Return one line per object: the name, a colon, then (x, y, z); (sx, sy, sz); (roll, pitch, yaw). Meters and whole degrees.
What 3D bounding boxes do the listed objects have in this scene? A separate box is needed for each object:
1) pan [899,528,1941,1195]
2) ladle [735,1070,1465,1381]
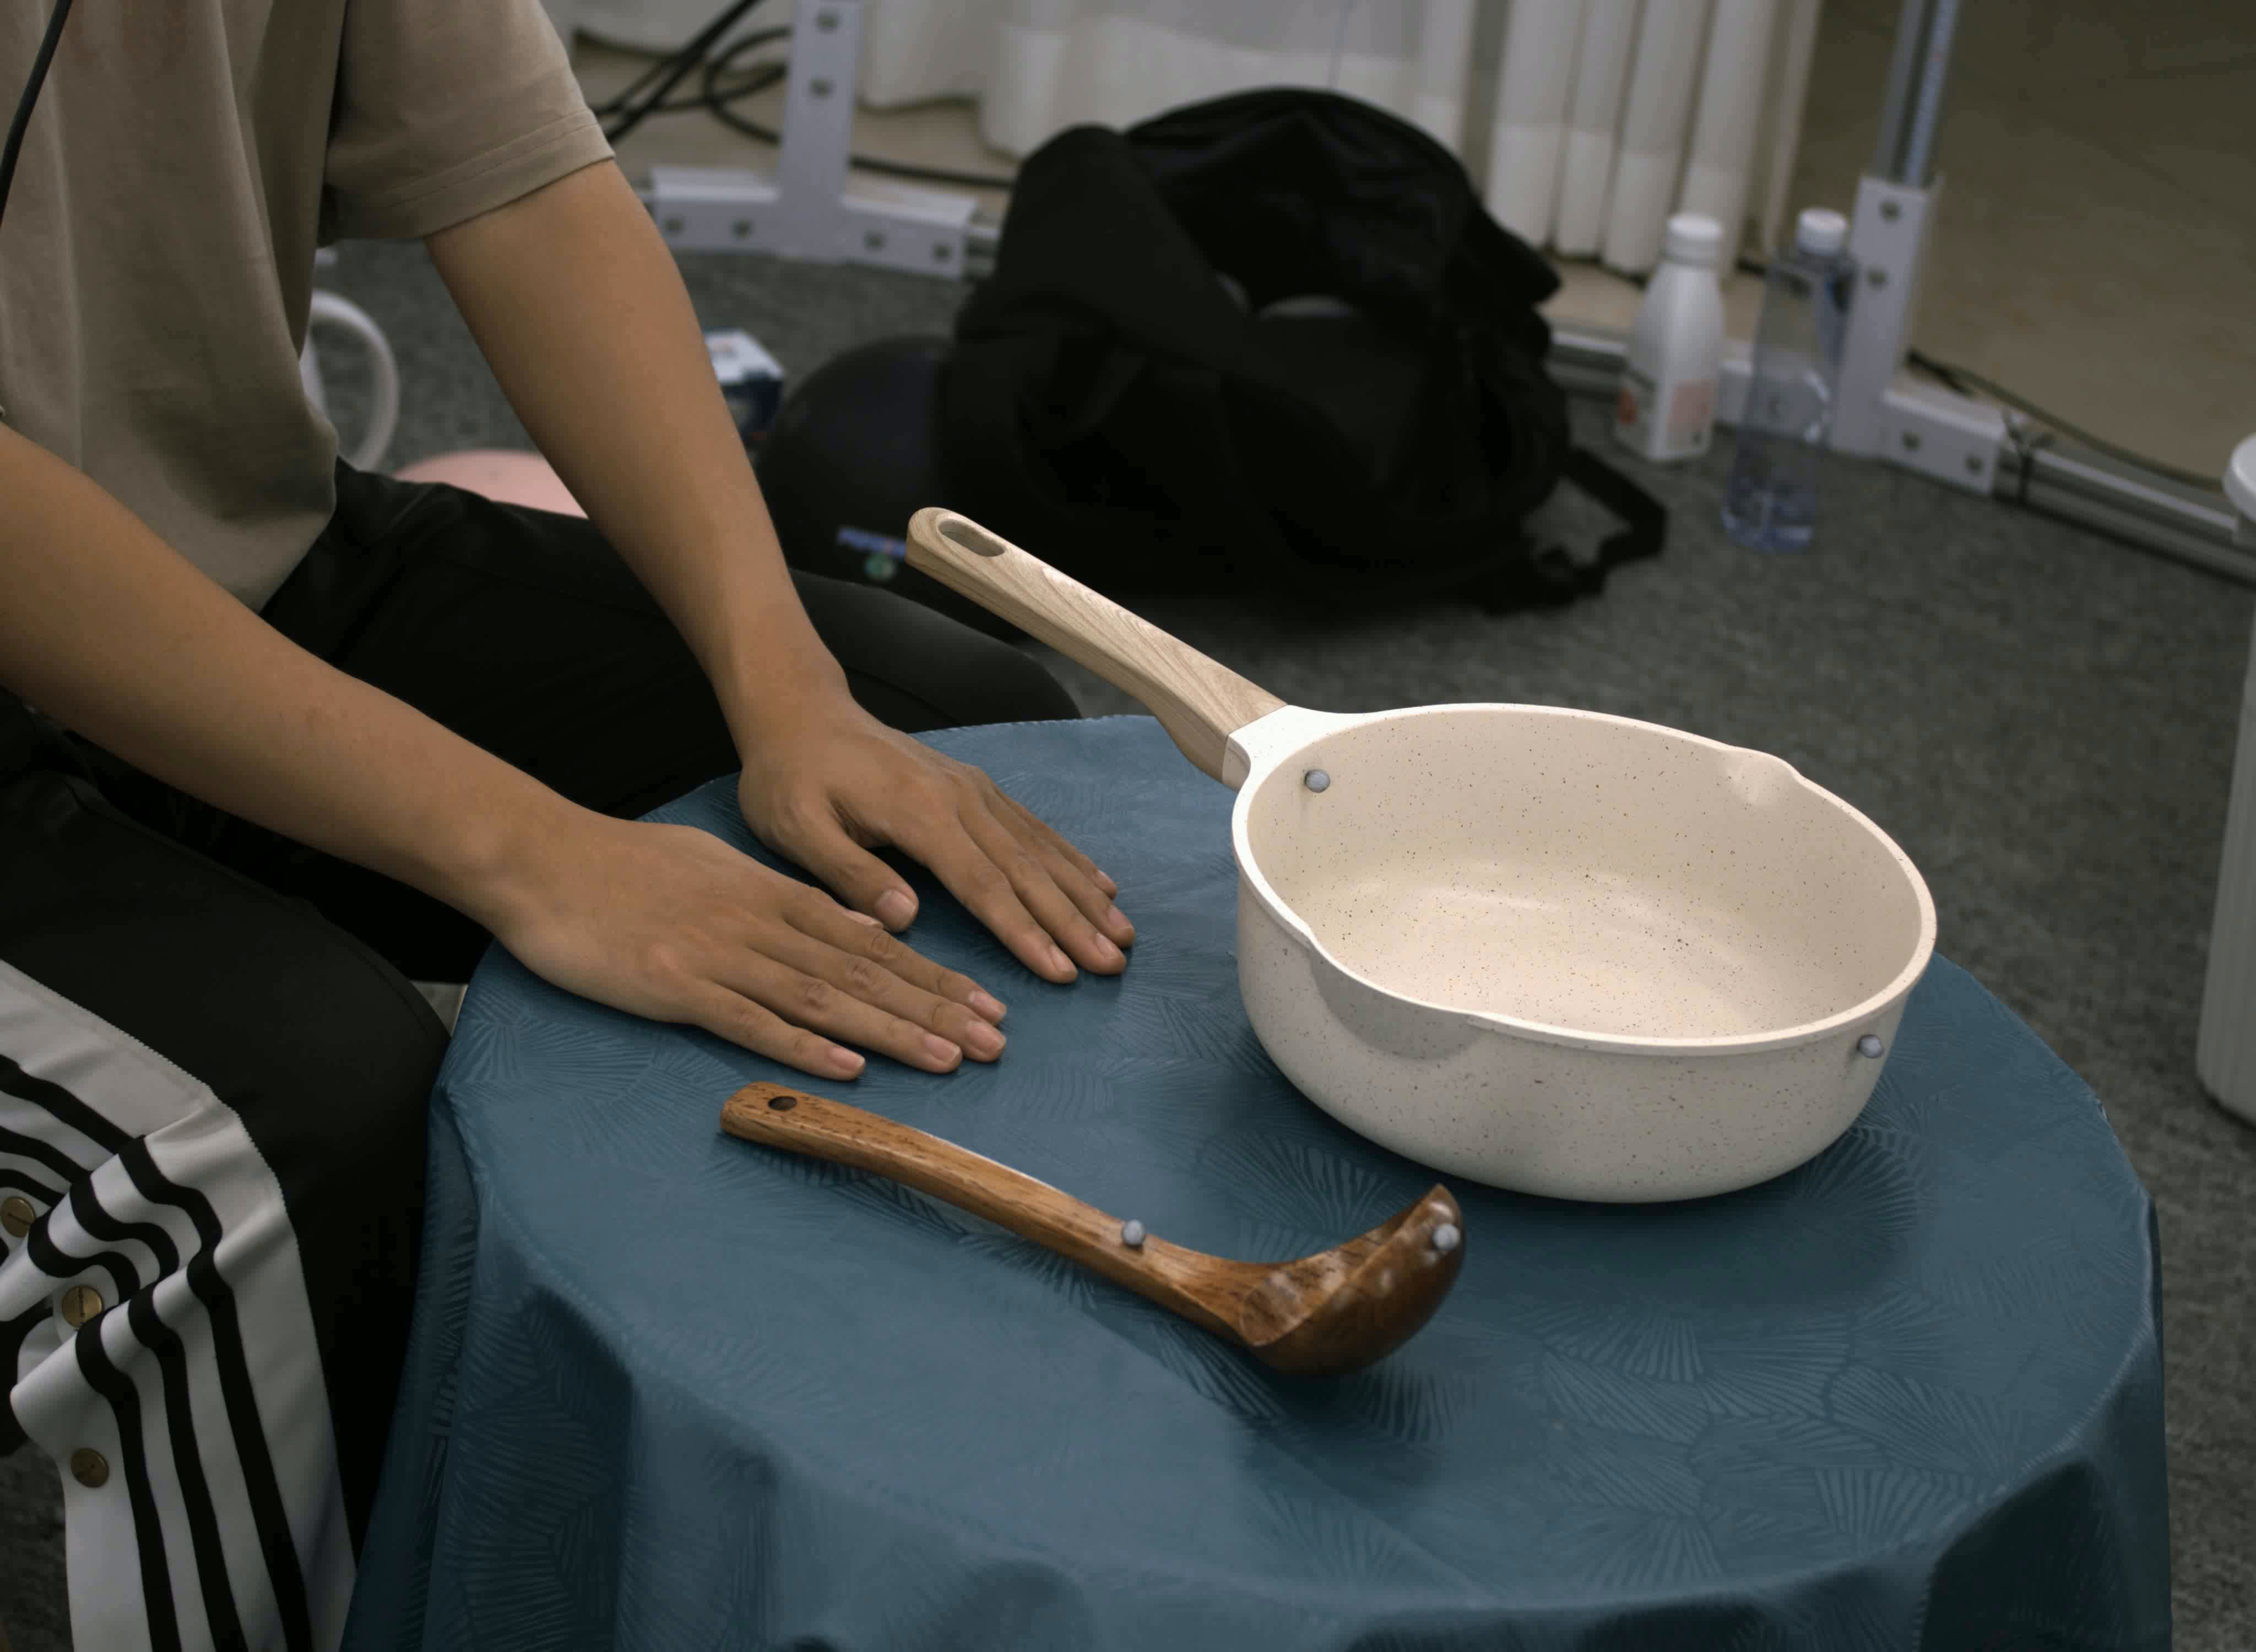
pan: (0.087, 0.007, 1.945); (0.437, 0.101, 0.262); (24, 33, 30)
ladle: (-0.016, 0.111, 1.740); (0.275, 0.076, 0.082); (22, 33, 26)
